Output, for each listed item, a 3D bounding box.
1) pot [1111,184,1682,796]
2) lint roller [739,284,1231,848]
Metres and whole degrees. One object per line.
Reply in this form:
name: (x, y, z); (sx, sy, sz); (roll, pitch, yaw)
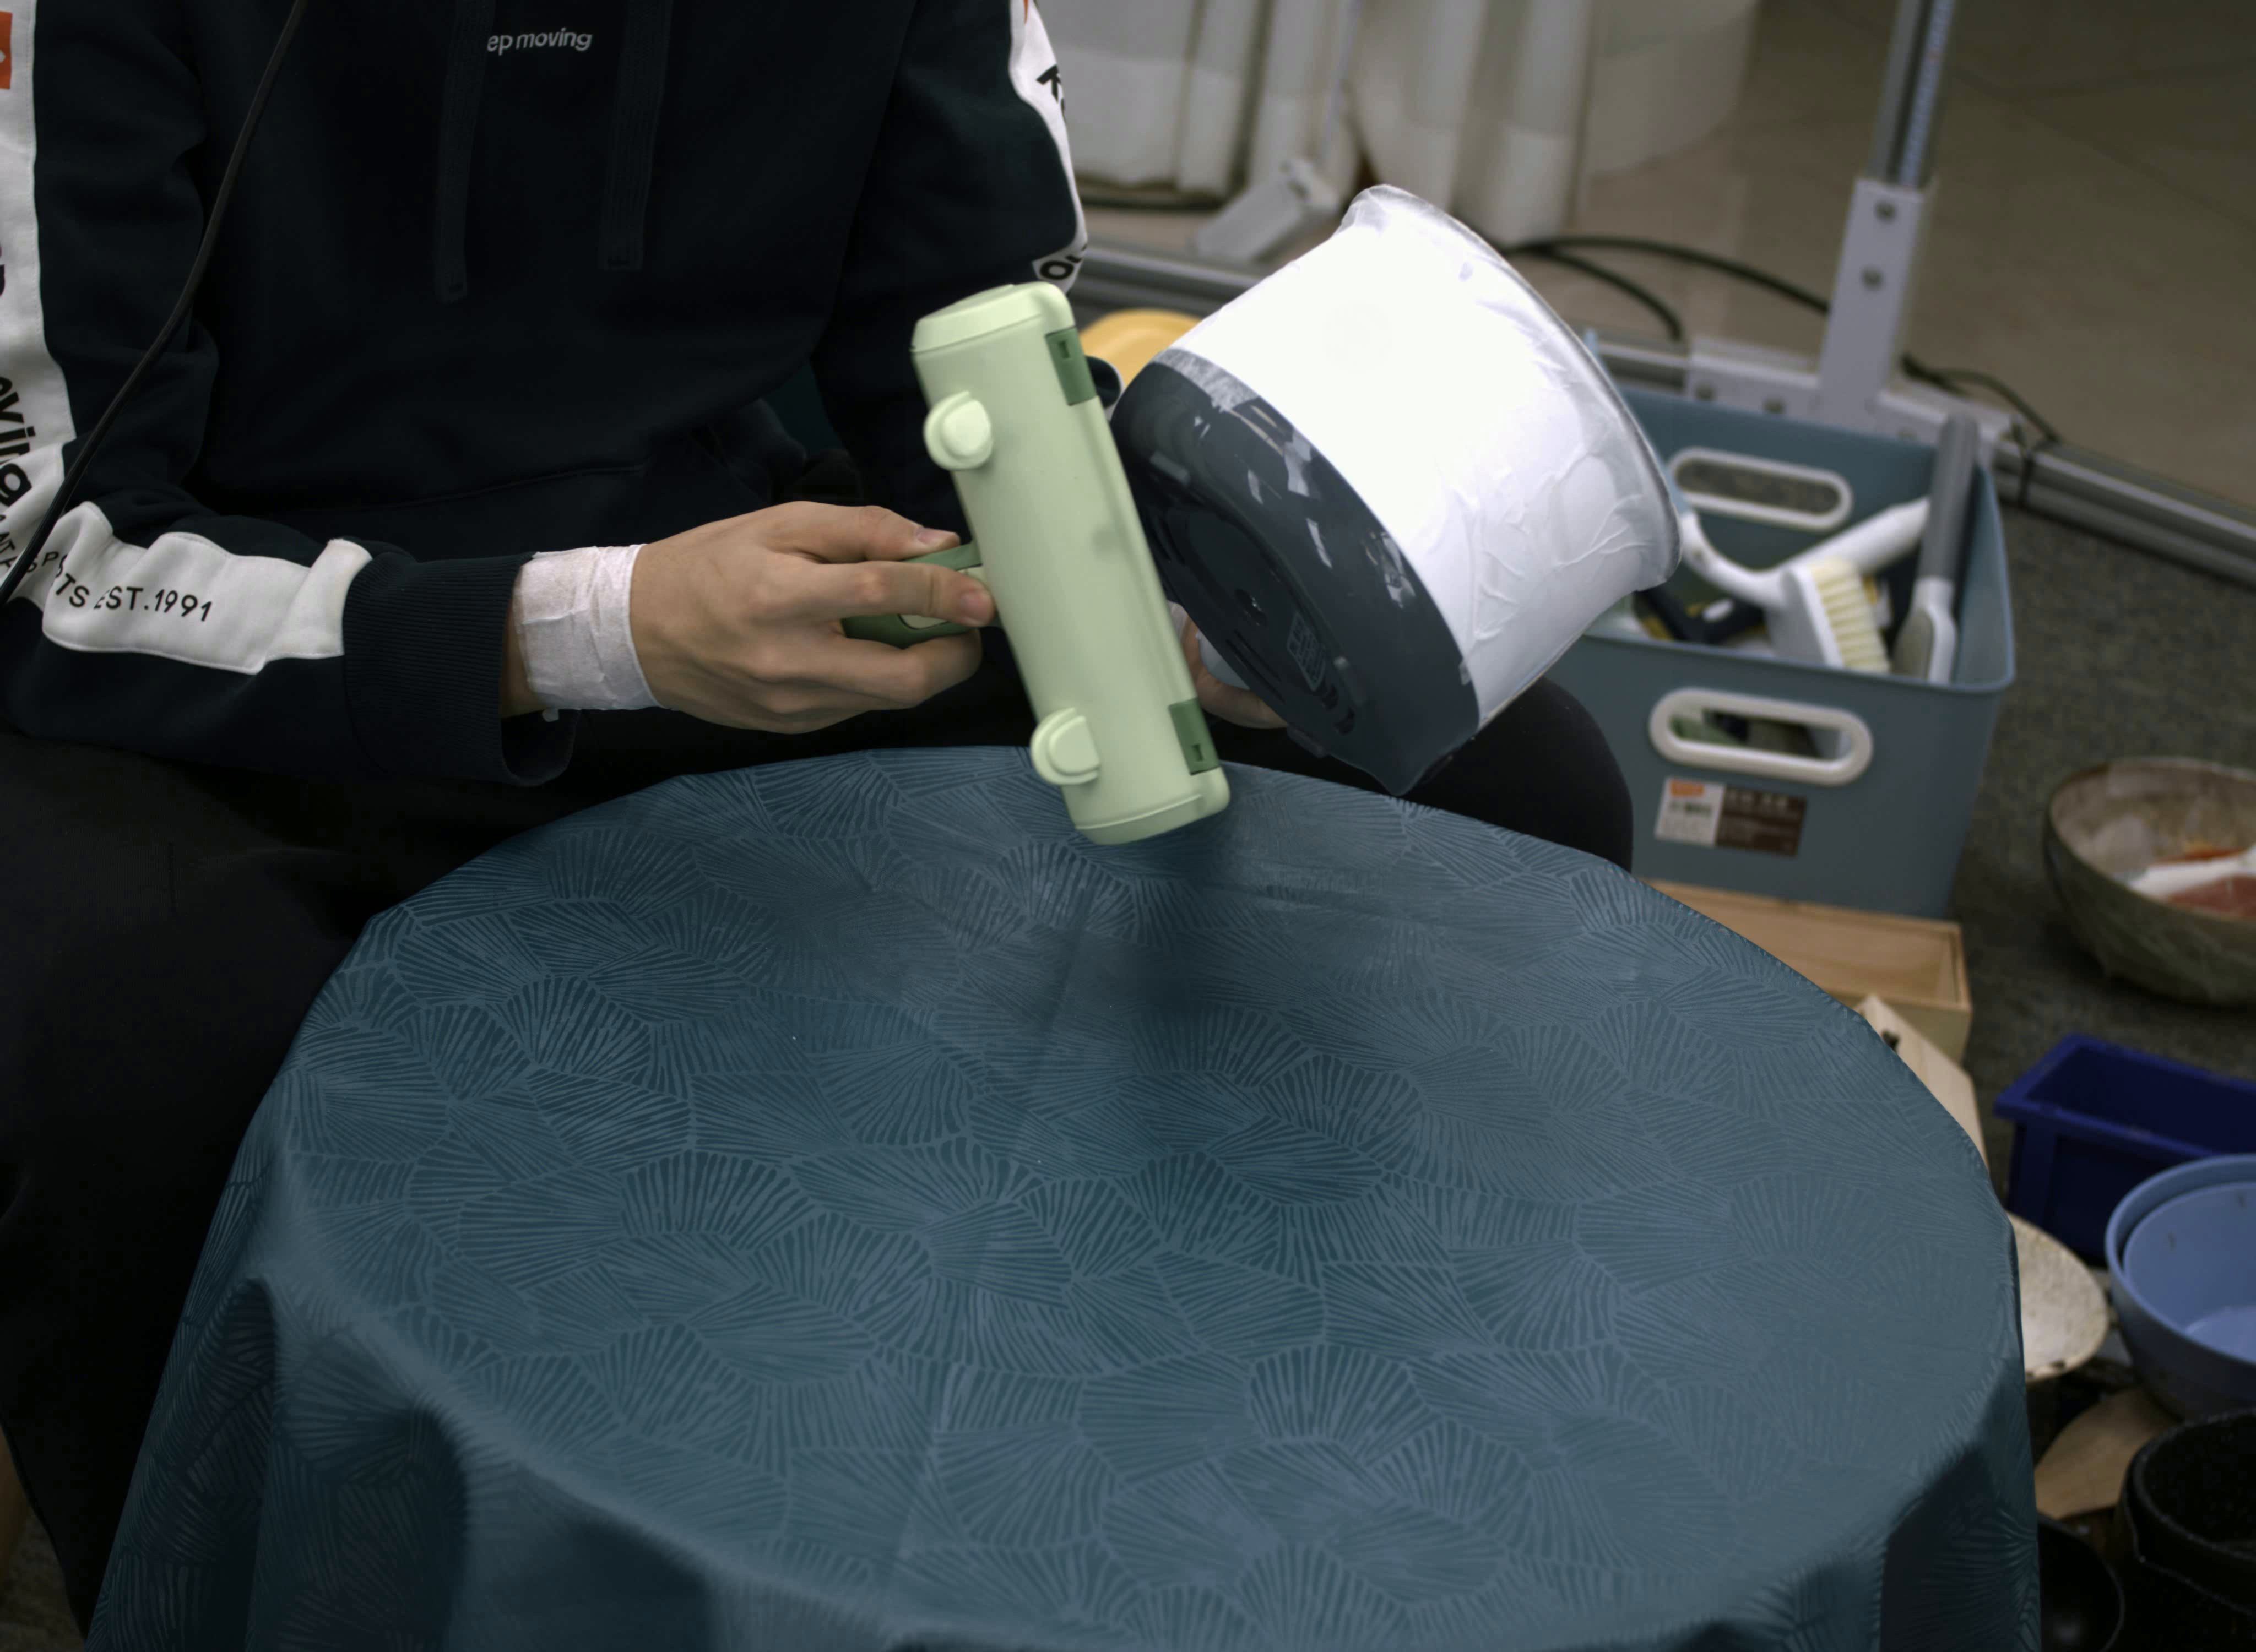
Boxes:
pot: (0.086, -0.113, 1.913); (0.136, 0.233, 0.179); (-38, 85, -12)
lint roller: (-0.071, -0.077, 1.879); (0.183, 0.198, 0.082); (-14, 11, 26)
